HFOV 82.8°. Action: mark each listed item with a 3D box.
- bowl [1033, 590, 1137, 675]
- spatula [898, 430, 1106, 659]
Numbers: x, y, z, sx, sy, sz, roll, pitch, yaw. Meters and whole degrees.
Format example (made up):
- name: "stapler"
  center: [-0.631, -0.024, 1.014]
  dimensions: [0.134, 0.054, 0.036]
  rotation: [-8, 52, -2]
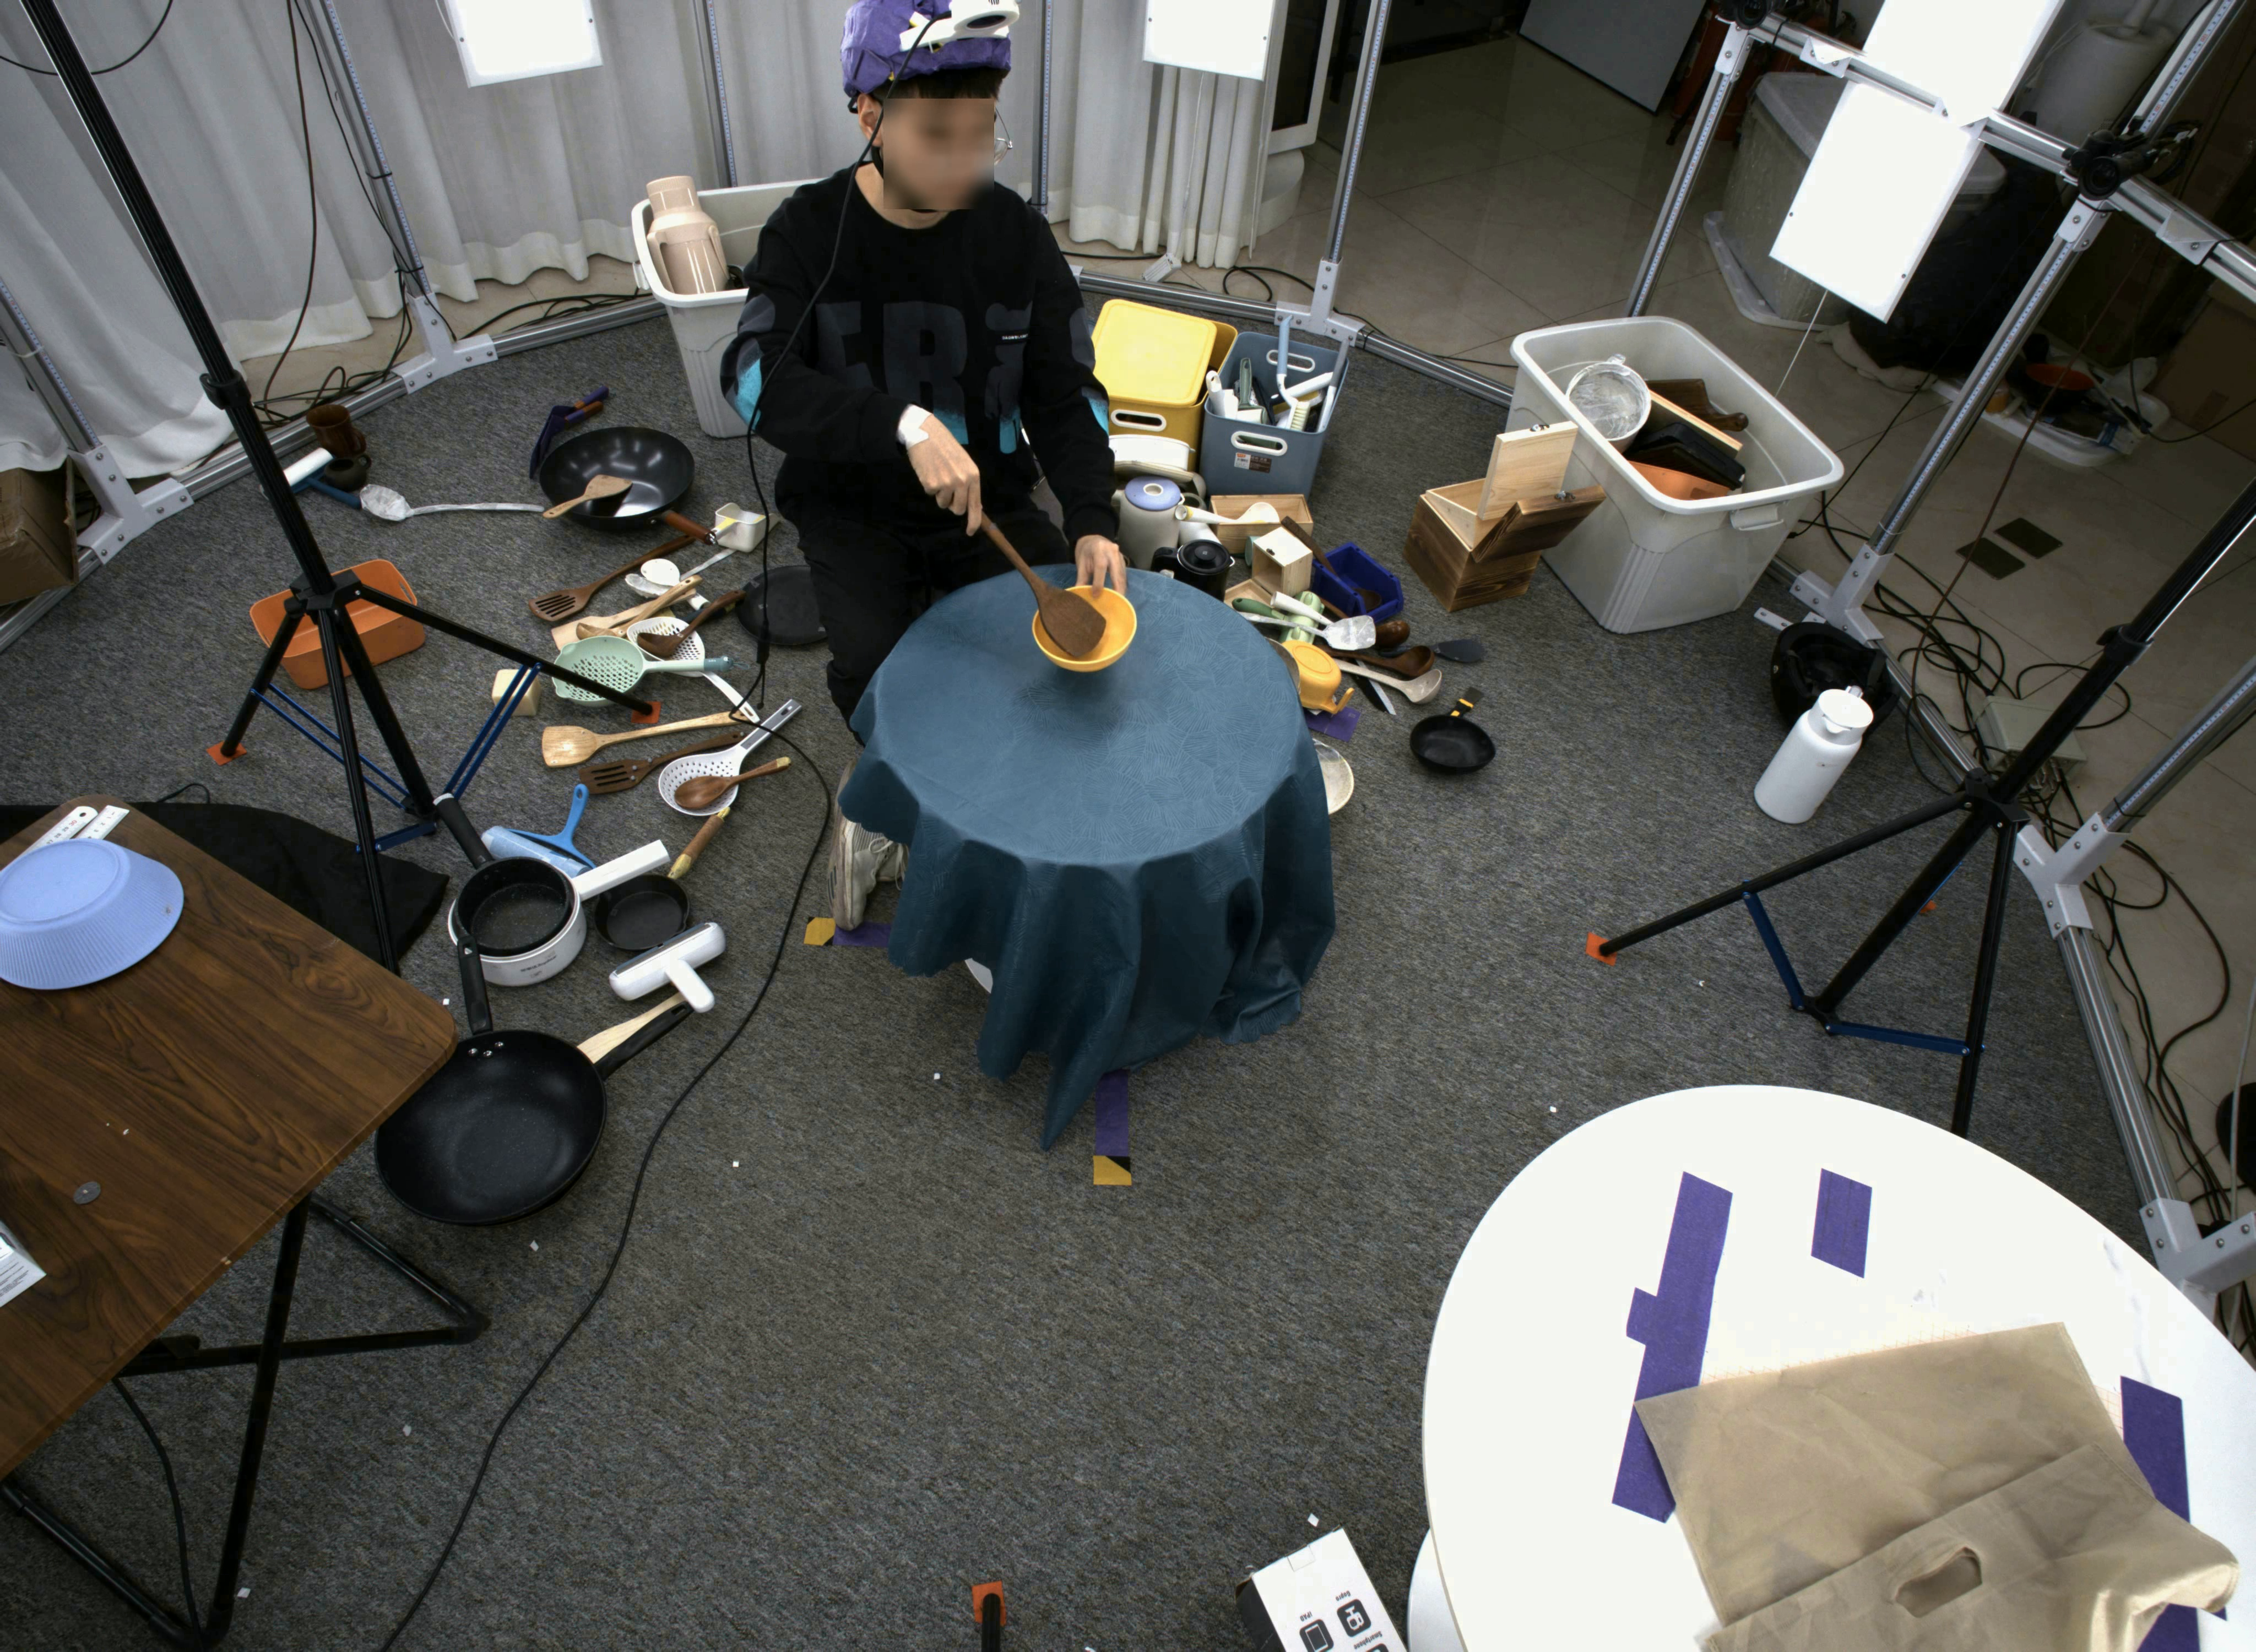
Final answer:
- name: "bowl"
  center: [-0.059, -0.262, 1.815]
  dimensions: [0.145, 0.058, 0.149]
  rotation: [-1, 54, 2]
- name: "spatula"
  center: [-0.173, -0.386, 1.760]
  dimensions: [0.382, 0.015, 0.097]
  rotation: [47, 51, -12]
